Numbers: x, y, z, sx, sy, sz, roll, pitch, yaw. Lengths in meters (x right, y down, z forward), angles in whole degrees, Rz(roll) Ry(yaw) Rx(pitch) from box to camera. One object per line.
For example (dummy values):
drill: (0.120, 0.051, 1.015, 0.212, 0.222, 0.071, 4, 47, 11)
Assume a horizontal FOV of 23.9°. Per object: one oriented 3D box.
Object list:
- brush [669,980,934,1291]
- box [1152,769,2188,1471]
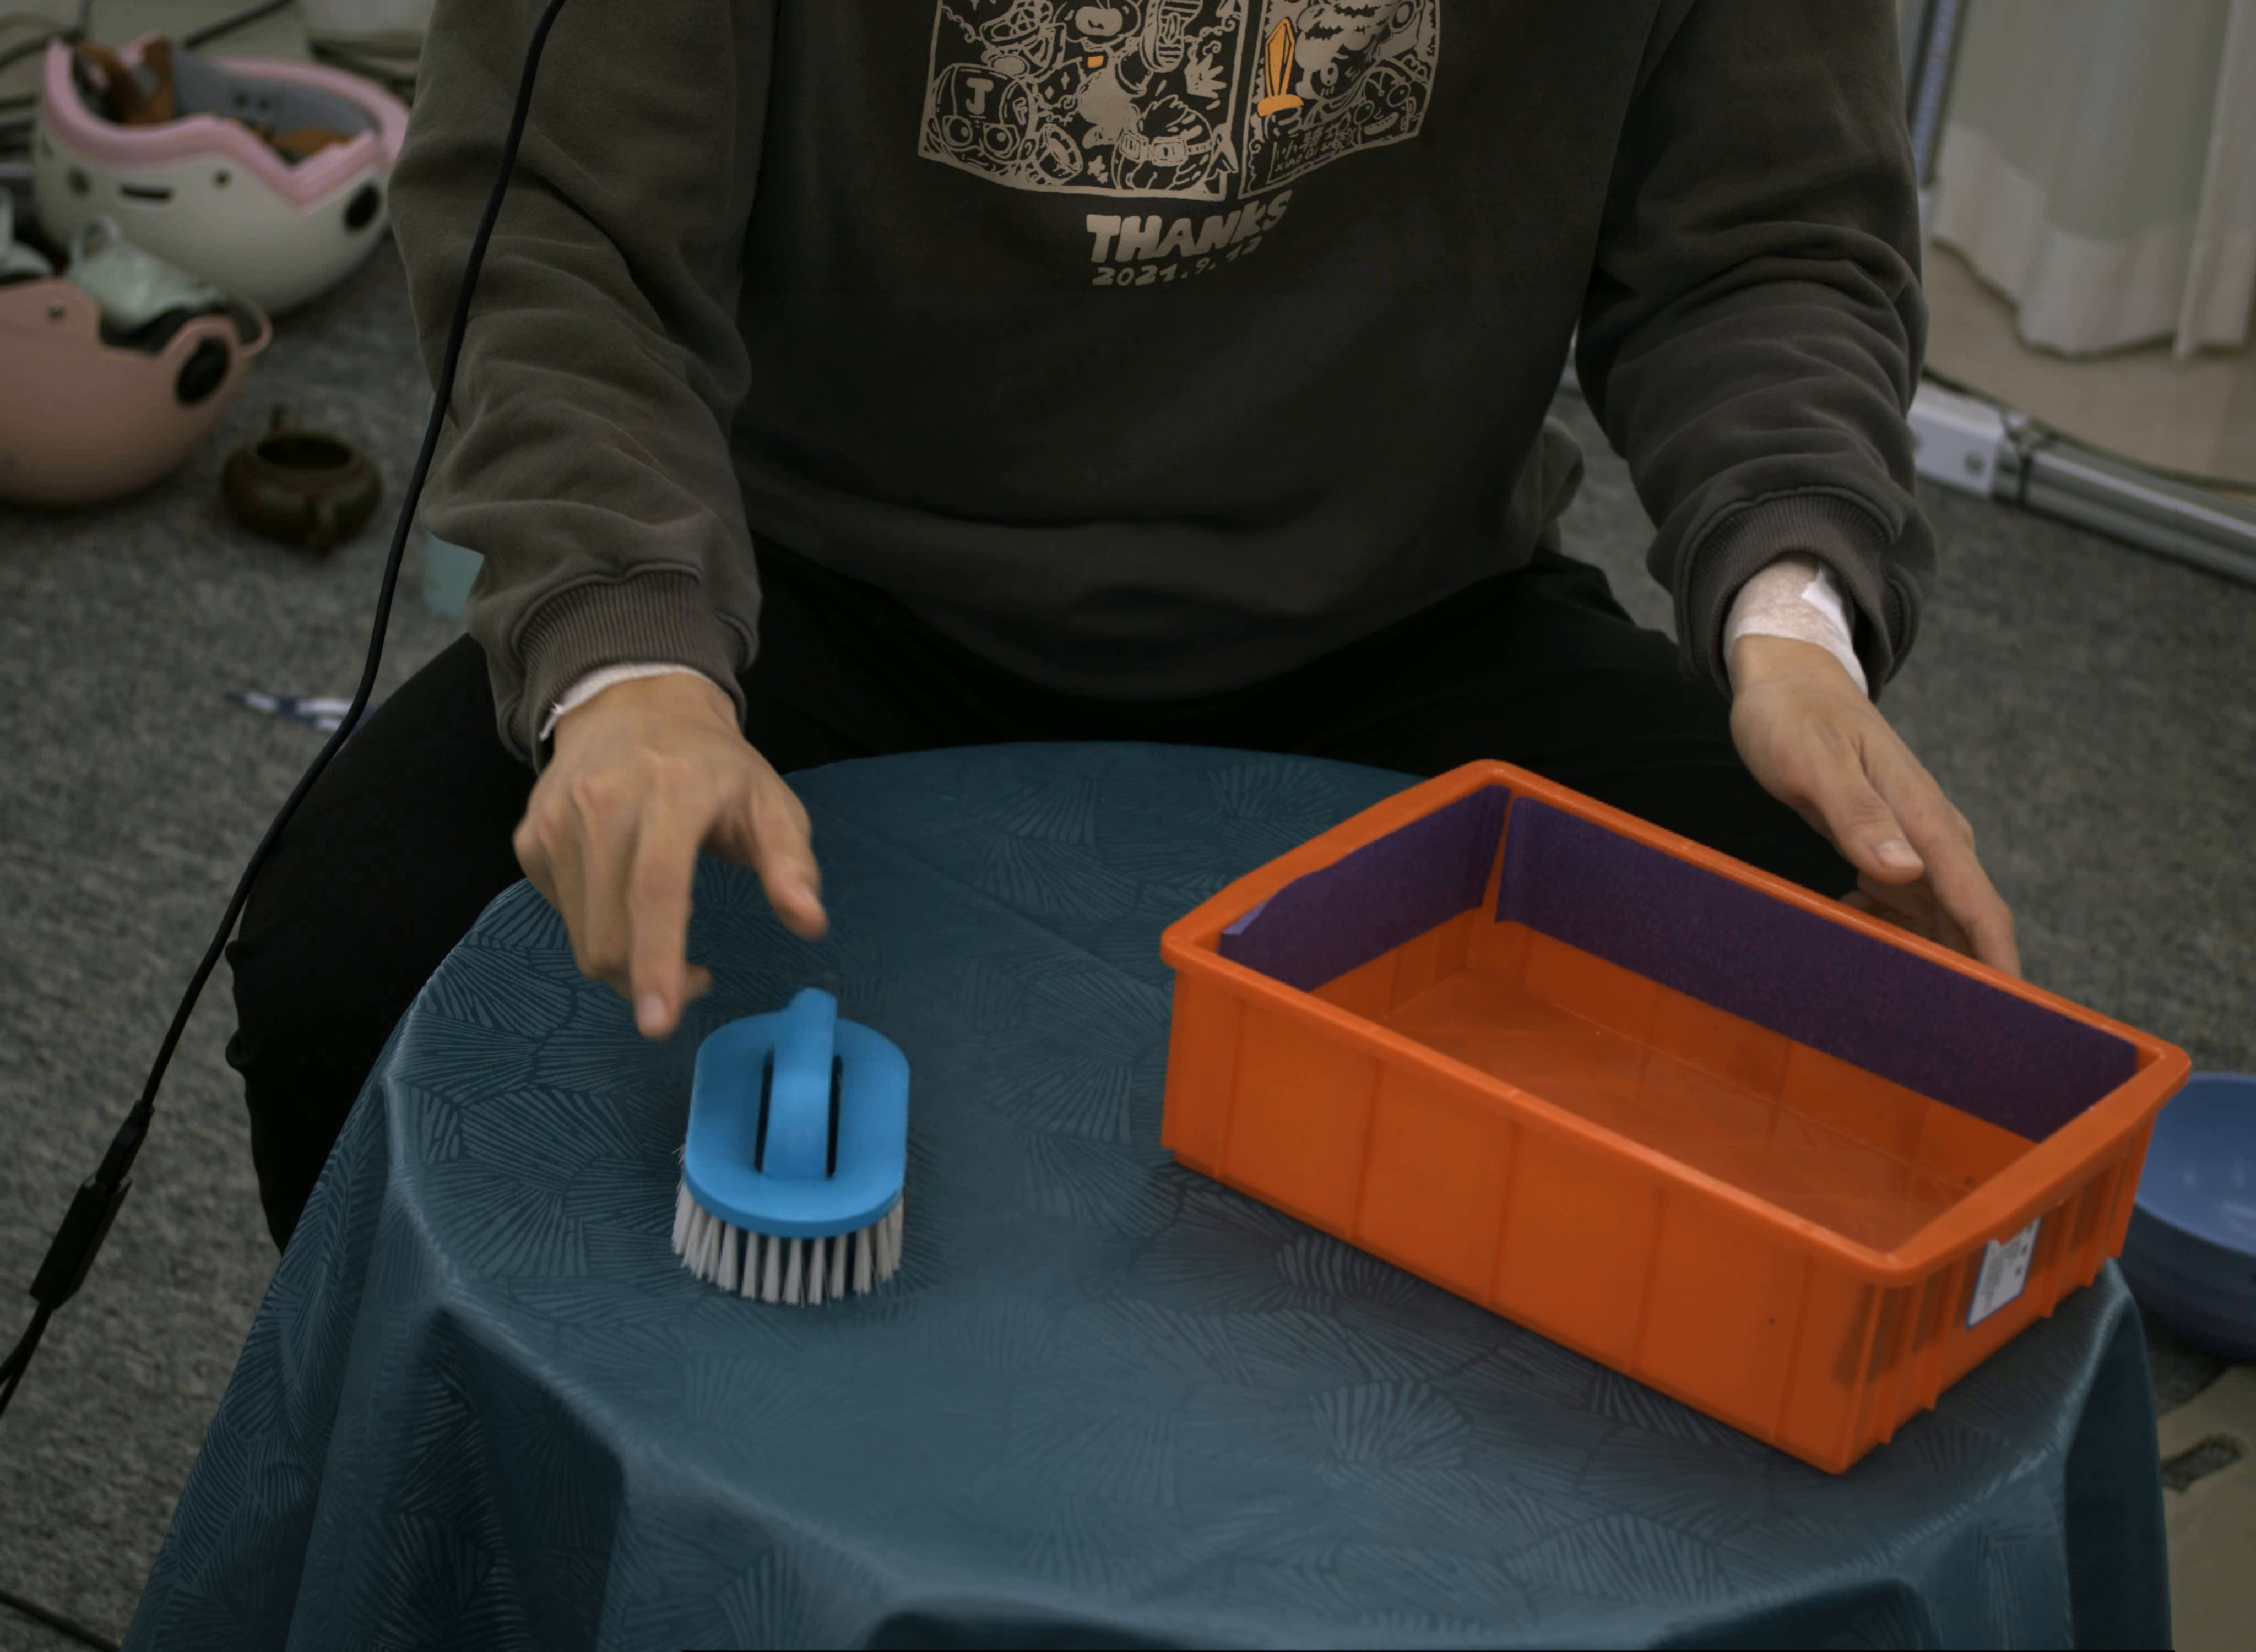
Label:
brush: (-0.107, 0.094, 1.767, 0.084, 0.063, 0.142, 2, 25, 1)
box: (0.177, 0.095, 1.805, 0.305, 0.096, 0.206, 25, 32, 31)
